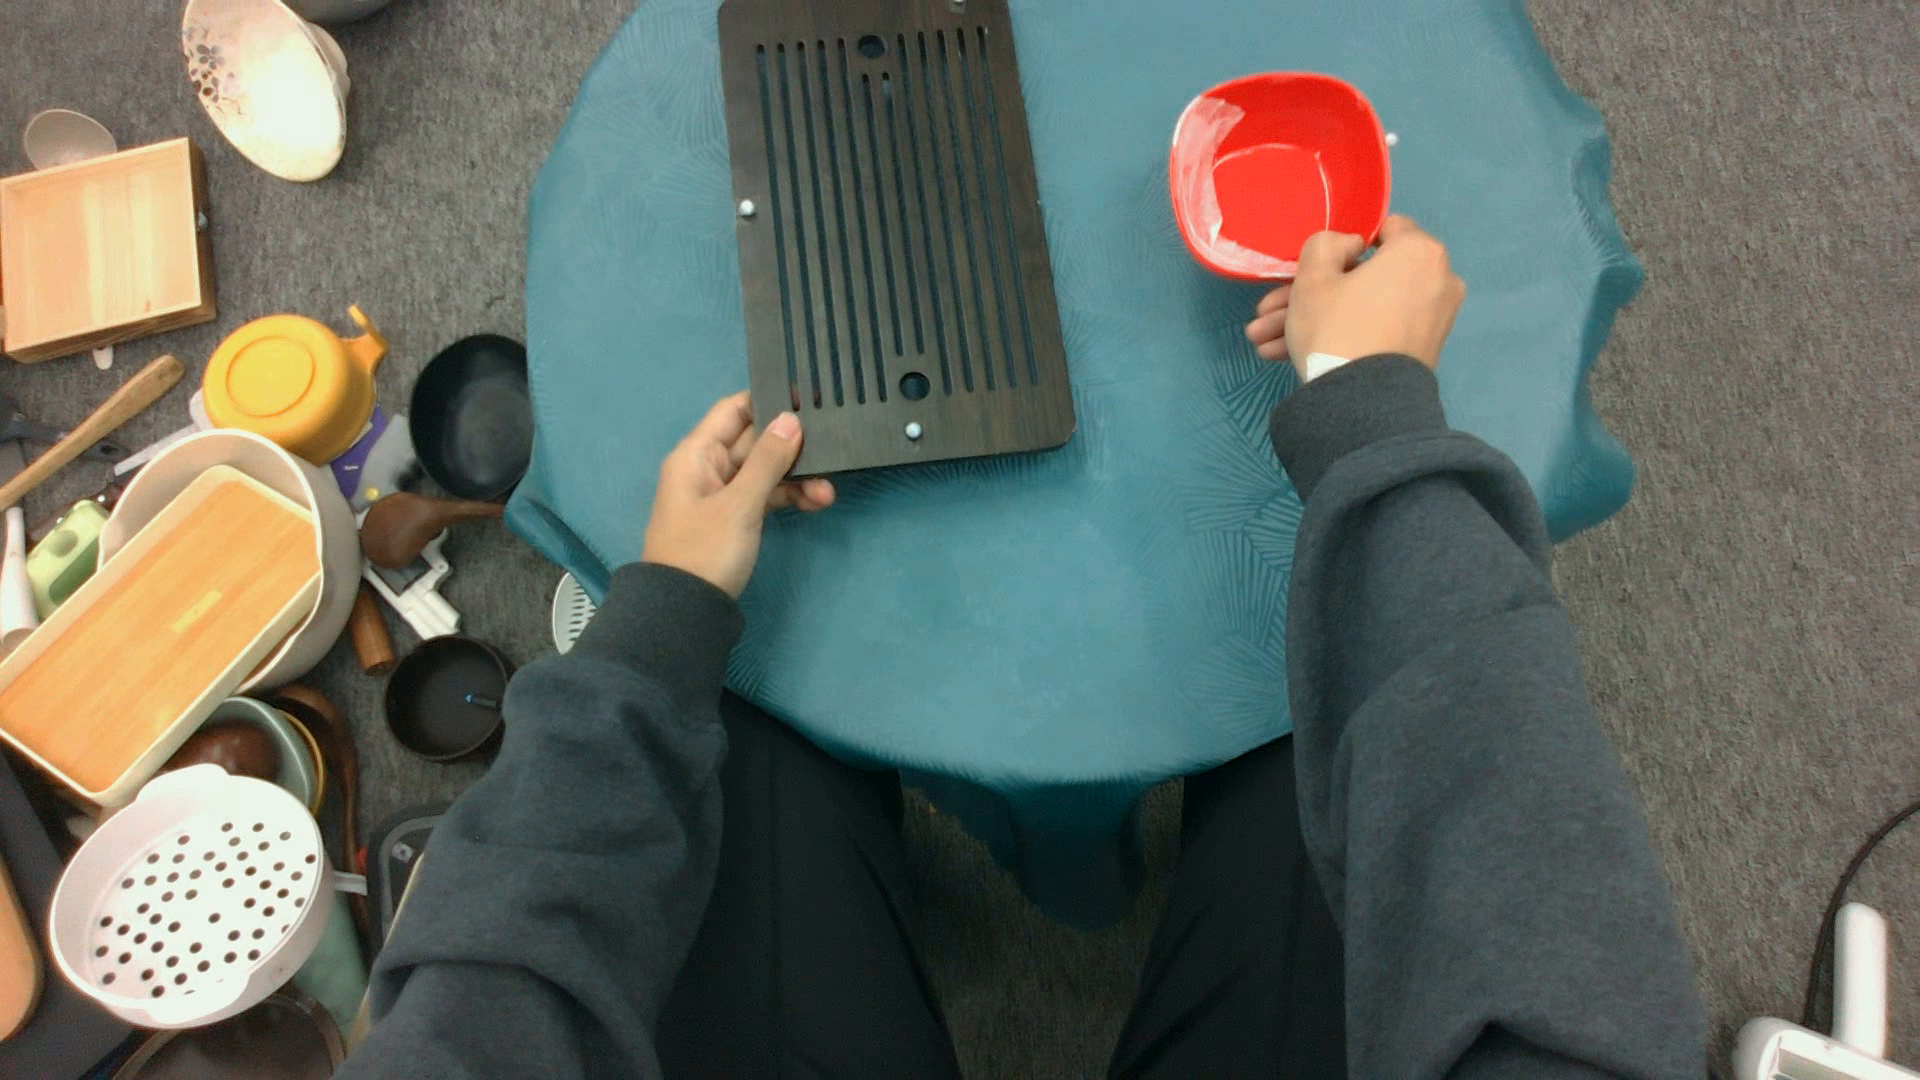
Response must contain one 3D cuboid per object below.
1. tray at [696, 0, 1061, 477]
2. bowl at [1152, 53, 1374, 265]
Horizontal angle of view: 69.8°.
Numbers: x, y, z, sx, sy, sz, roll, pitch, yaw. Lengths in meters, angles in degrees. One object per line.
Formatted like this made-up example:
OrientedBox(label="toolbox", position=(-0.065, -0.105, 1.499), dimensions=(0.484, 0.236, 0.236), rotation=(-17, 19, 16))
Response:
OrientedBox(label="tray", position=(-0.050, -0.183, 0.768), dimensions=(0.170, 0.018, 0.306), rotation=(-7, 71, -4))
OrientedBox(label="bowl", position=(0.155, -0.192, 0.720), dimensions=(0.119, 0.051, 0.119), rotation=(-1, 82, 4))
